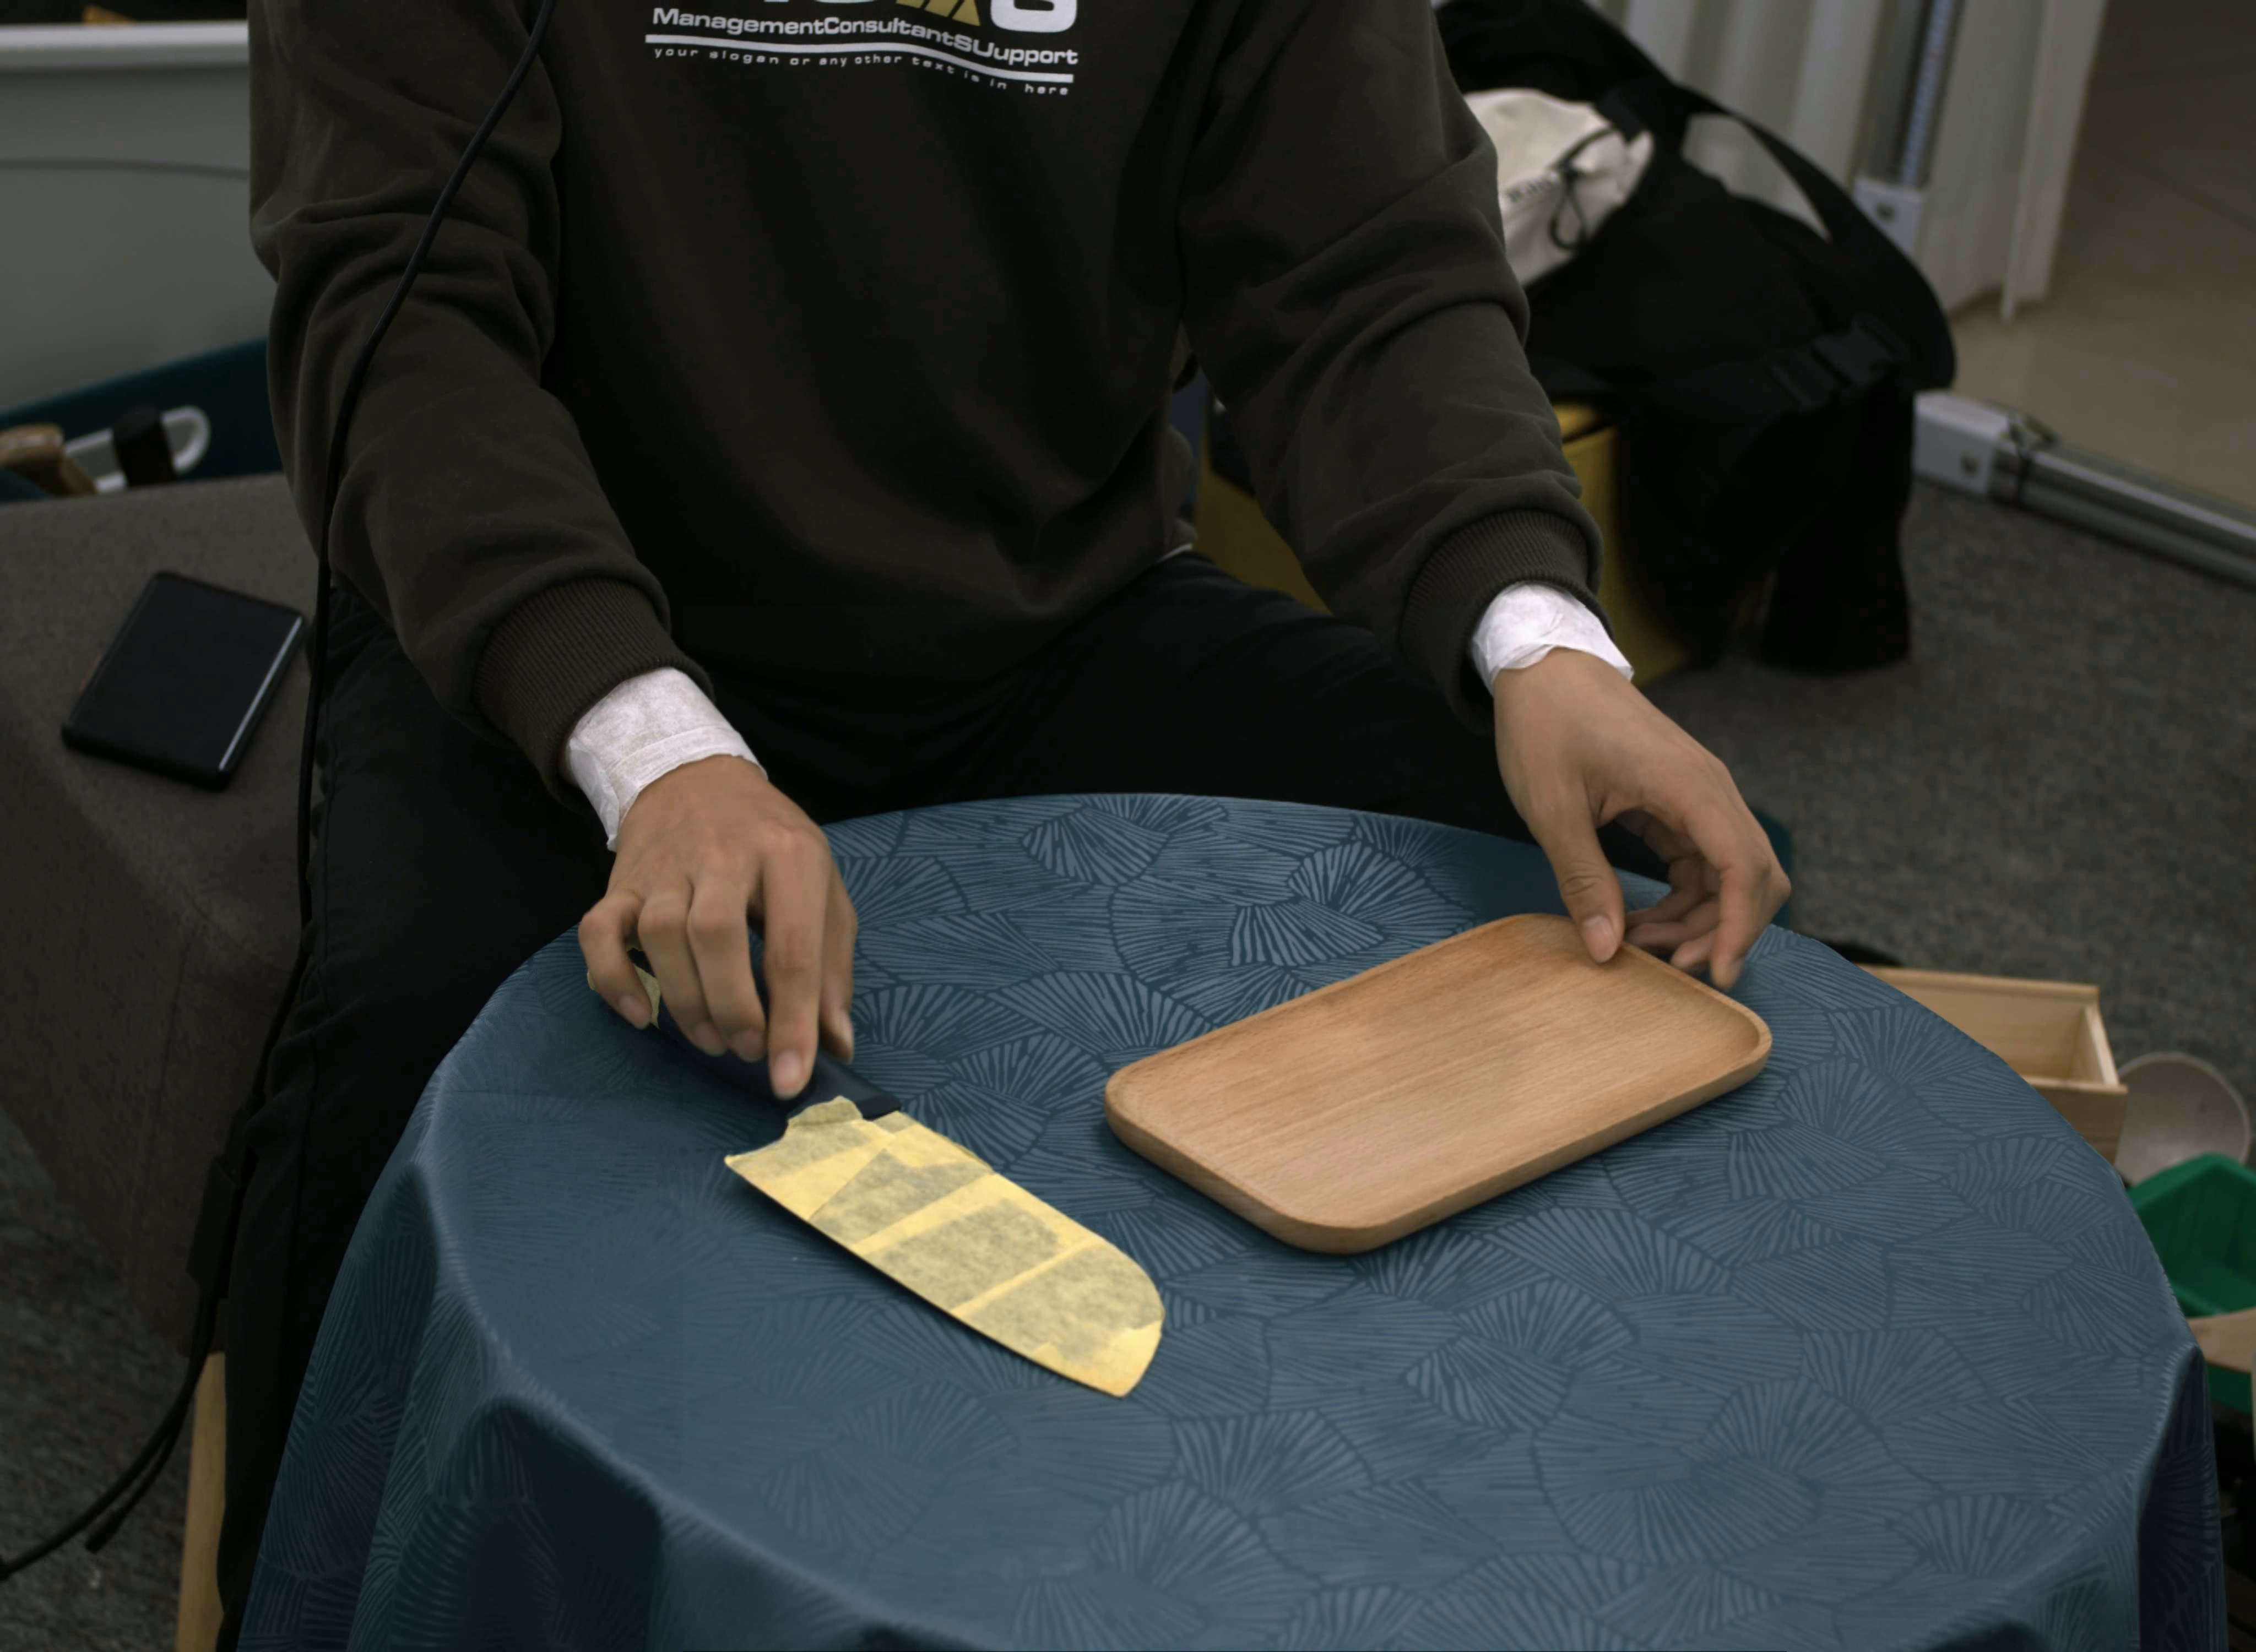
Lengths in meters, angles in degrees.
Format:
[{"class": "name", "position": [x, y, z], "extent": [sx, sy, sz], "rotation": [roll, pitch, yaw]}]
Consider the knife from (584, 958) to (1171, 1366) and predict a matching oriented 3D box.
[{"class": "knife", "position": [-0.093, 0.114, 1.788], "extent": [0.080, 0.027, 0.292], "rotation": [-18, 36, -42]}]

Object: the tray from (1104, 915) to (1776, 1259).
[{"class": "tray", "position": [0.112, 0.090, 1.879], "extent": [0.249, 0.023, 0.131], "rotation": [-20, 34, -40]}]
